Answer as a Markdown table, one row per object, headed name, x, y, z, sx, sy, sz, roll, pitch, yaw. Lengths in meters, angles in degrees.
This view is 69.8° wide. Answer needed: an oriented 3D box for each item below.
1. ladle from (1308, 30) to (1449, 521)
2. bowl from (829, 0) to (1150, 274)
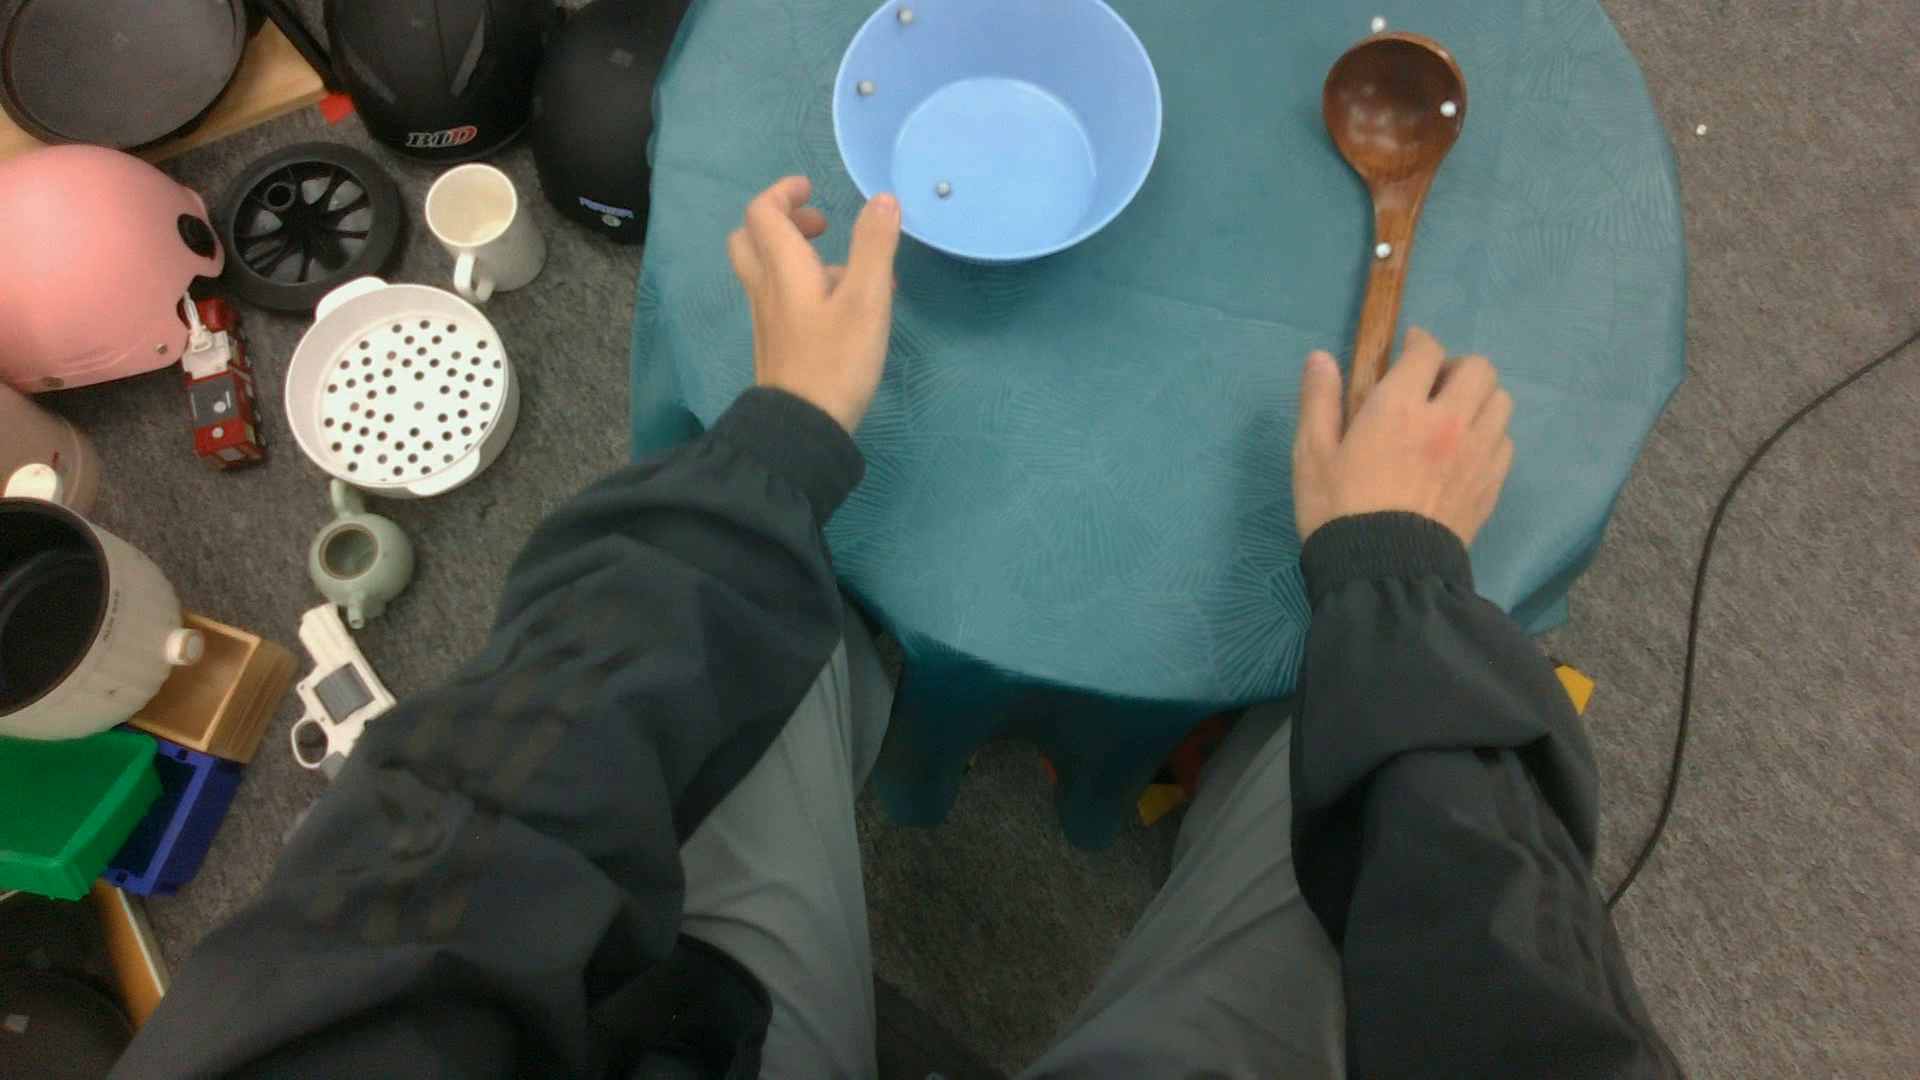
| name | x | y | z | sx | sy | sz | roll | pitch | yaw |
| --- | --- | --- | --- | --- | --- | --- | --- | --- | --- |
| ladle | 0.217 | -0.151 | 0.764 | 0.081 | 0.076 | 0.274 | -2 | 69 | 47 |
| bowl | 0.016 | -0.219 | 0.782 | 0.176 | 0.070 | 0.176 | 0 | 74 | 0 |
